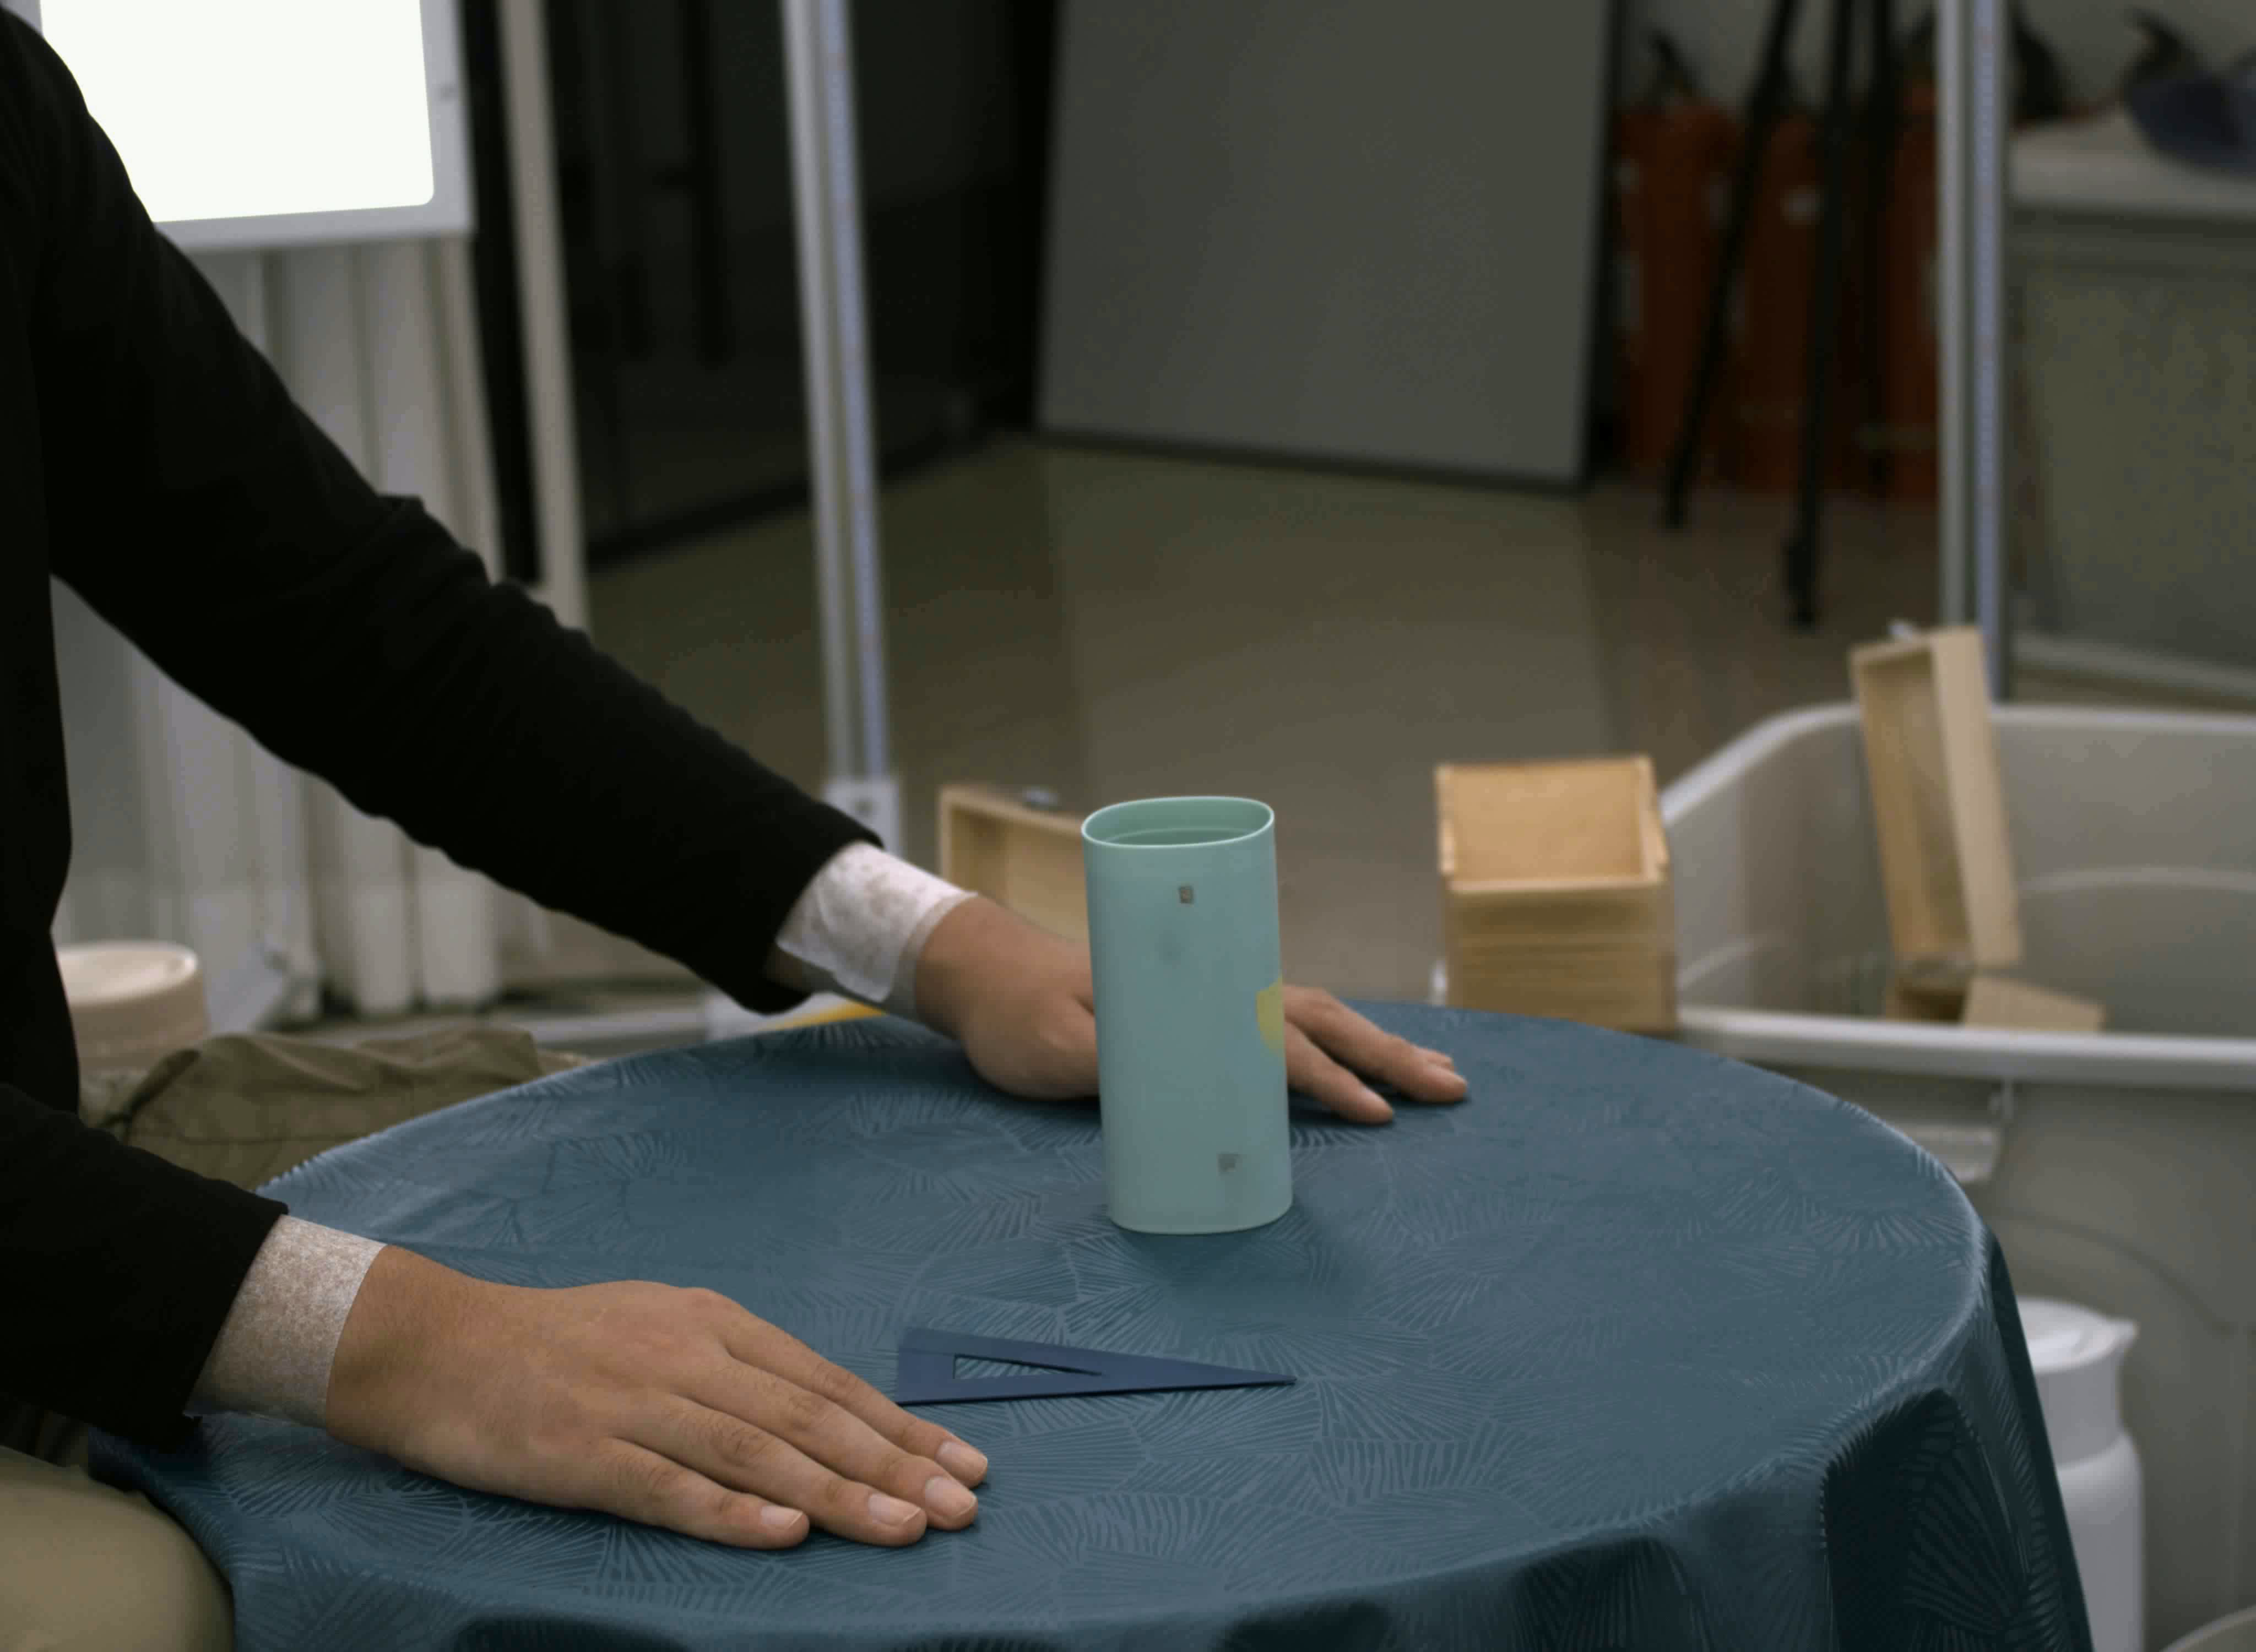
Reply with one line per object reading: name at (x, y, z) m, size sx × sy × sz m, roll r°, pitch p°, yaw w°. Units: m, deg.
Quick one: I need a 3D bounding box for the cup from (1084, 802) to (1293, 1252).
cup at (0.019, 0.064, 1.737) m, size 0.066 × 0.134 × 0.067 m, roll -3°, pitch 14°, yaw 0°

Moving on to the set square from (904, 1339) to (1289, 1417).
set square at (-0.019, 0.166, 1.582) m, size 0.133 × 0.006 × 0.060 m, roll 6°, pitch 15°, yaw 35°
